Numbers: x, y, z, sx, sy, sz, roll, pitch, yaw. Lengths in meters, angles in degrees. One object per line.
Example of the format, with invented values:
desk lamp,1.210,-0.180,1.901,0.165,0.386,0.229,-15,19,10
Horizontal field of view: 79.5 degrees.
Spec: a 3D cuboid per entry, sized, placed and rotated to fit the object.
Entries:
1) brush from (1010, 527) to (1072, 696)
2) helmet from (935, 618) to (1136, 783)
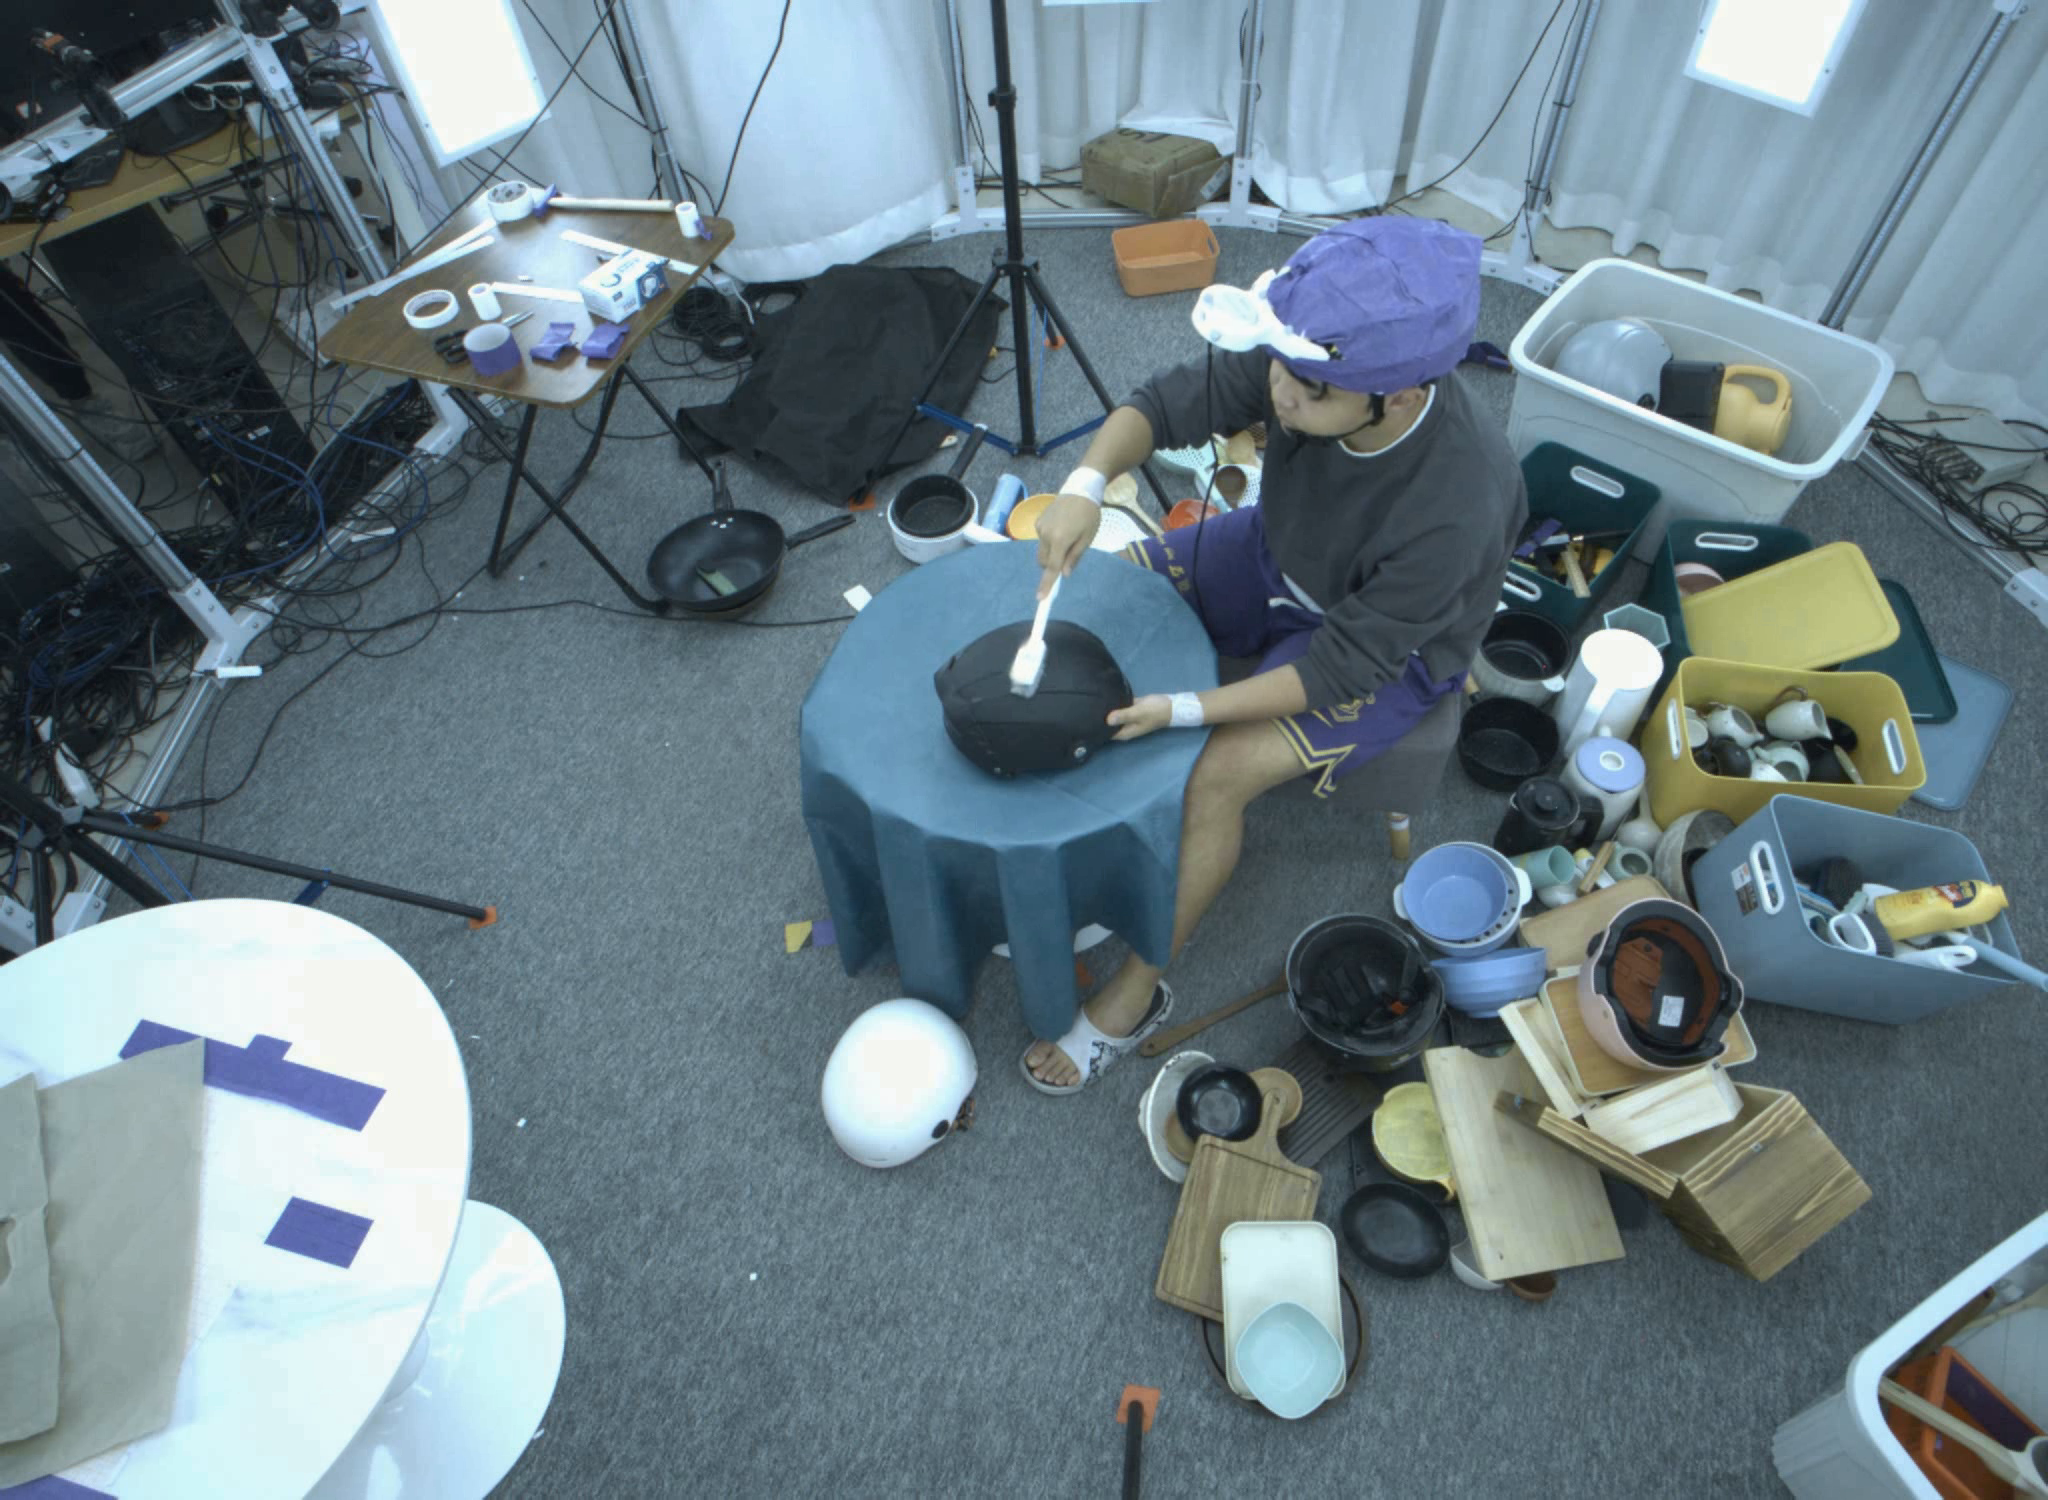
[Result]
brush,0.027,-0.188,1.666,0.034,0.051,0.243,13,74,10
helmet,0.014,-0.091,1.752,0.277,0.175,0.242,-17,53,-5
